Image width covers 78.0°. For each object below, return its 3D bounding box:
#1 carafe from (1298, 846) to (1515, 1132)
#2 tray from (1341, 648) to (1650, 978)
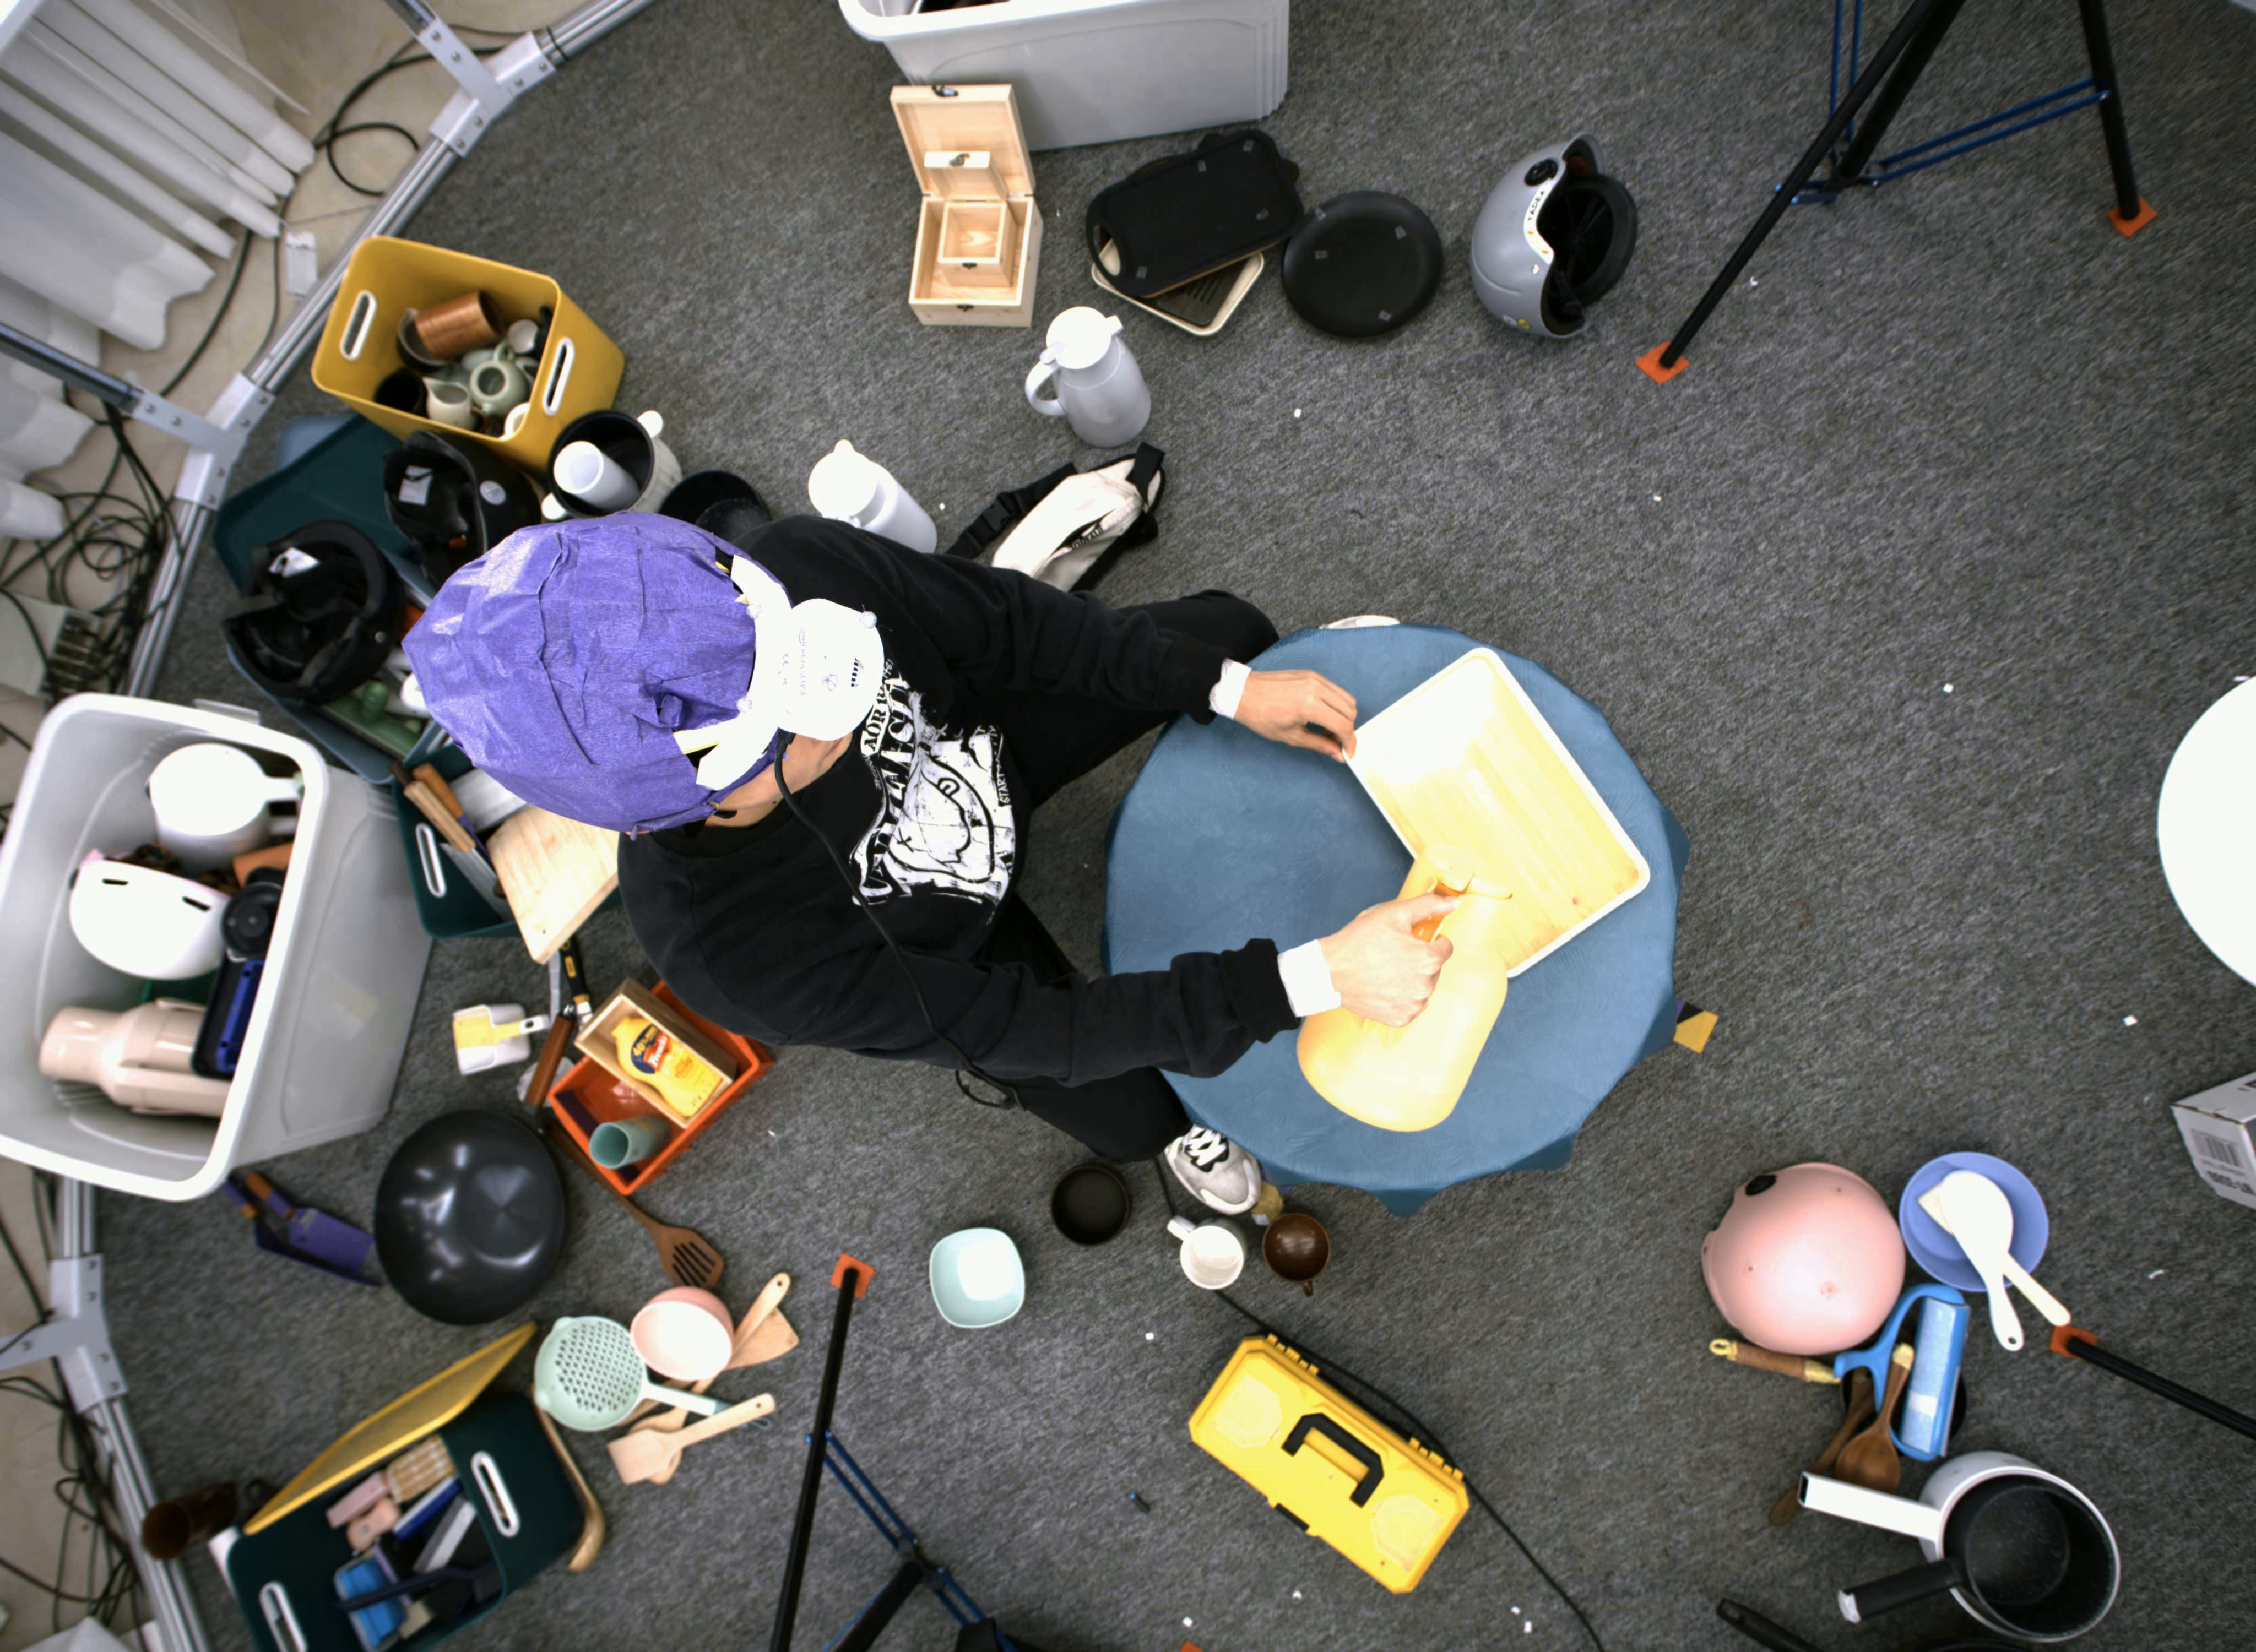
[{"bbox_3d":[0.263,0.149,1.291,0.163,0.200,0.264,27,109,23],"label":"carafe"},{"bbox_3d":[0.376,-0.016,1.416,0.192,0.027,0.299,-35,87,6],"label":"tray"}]
